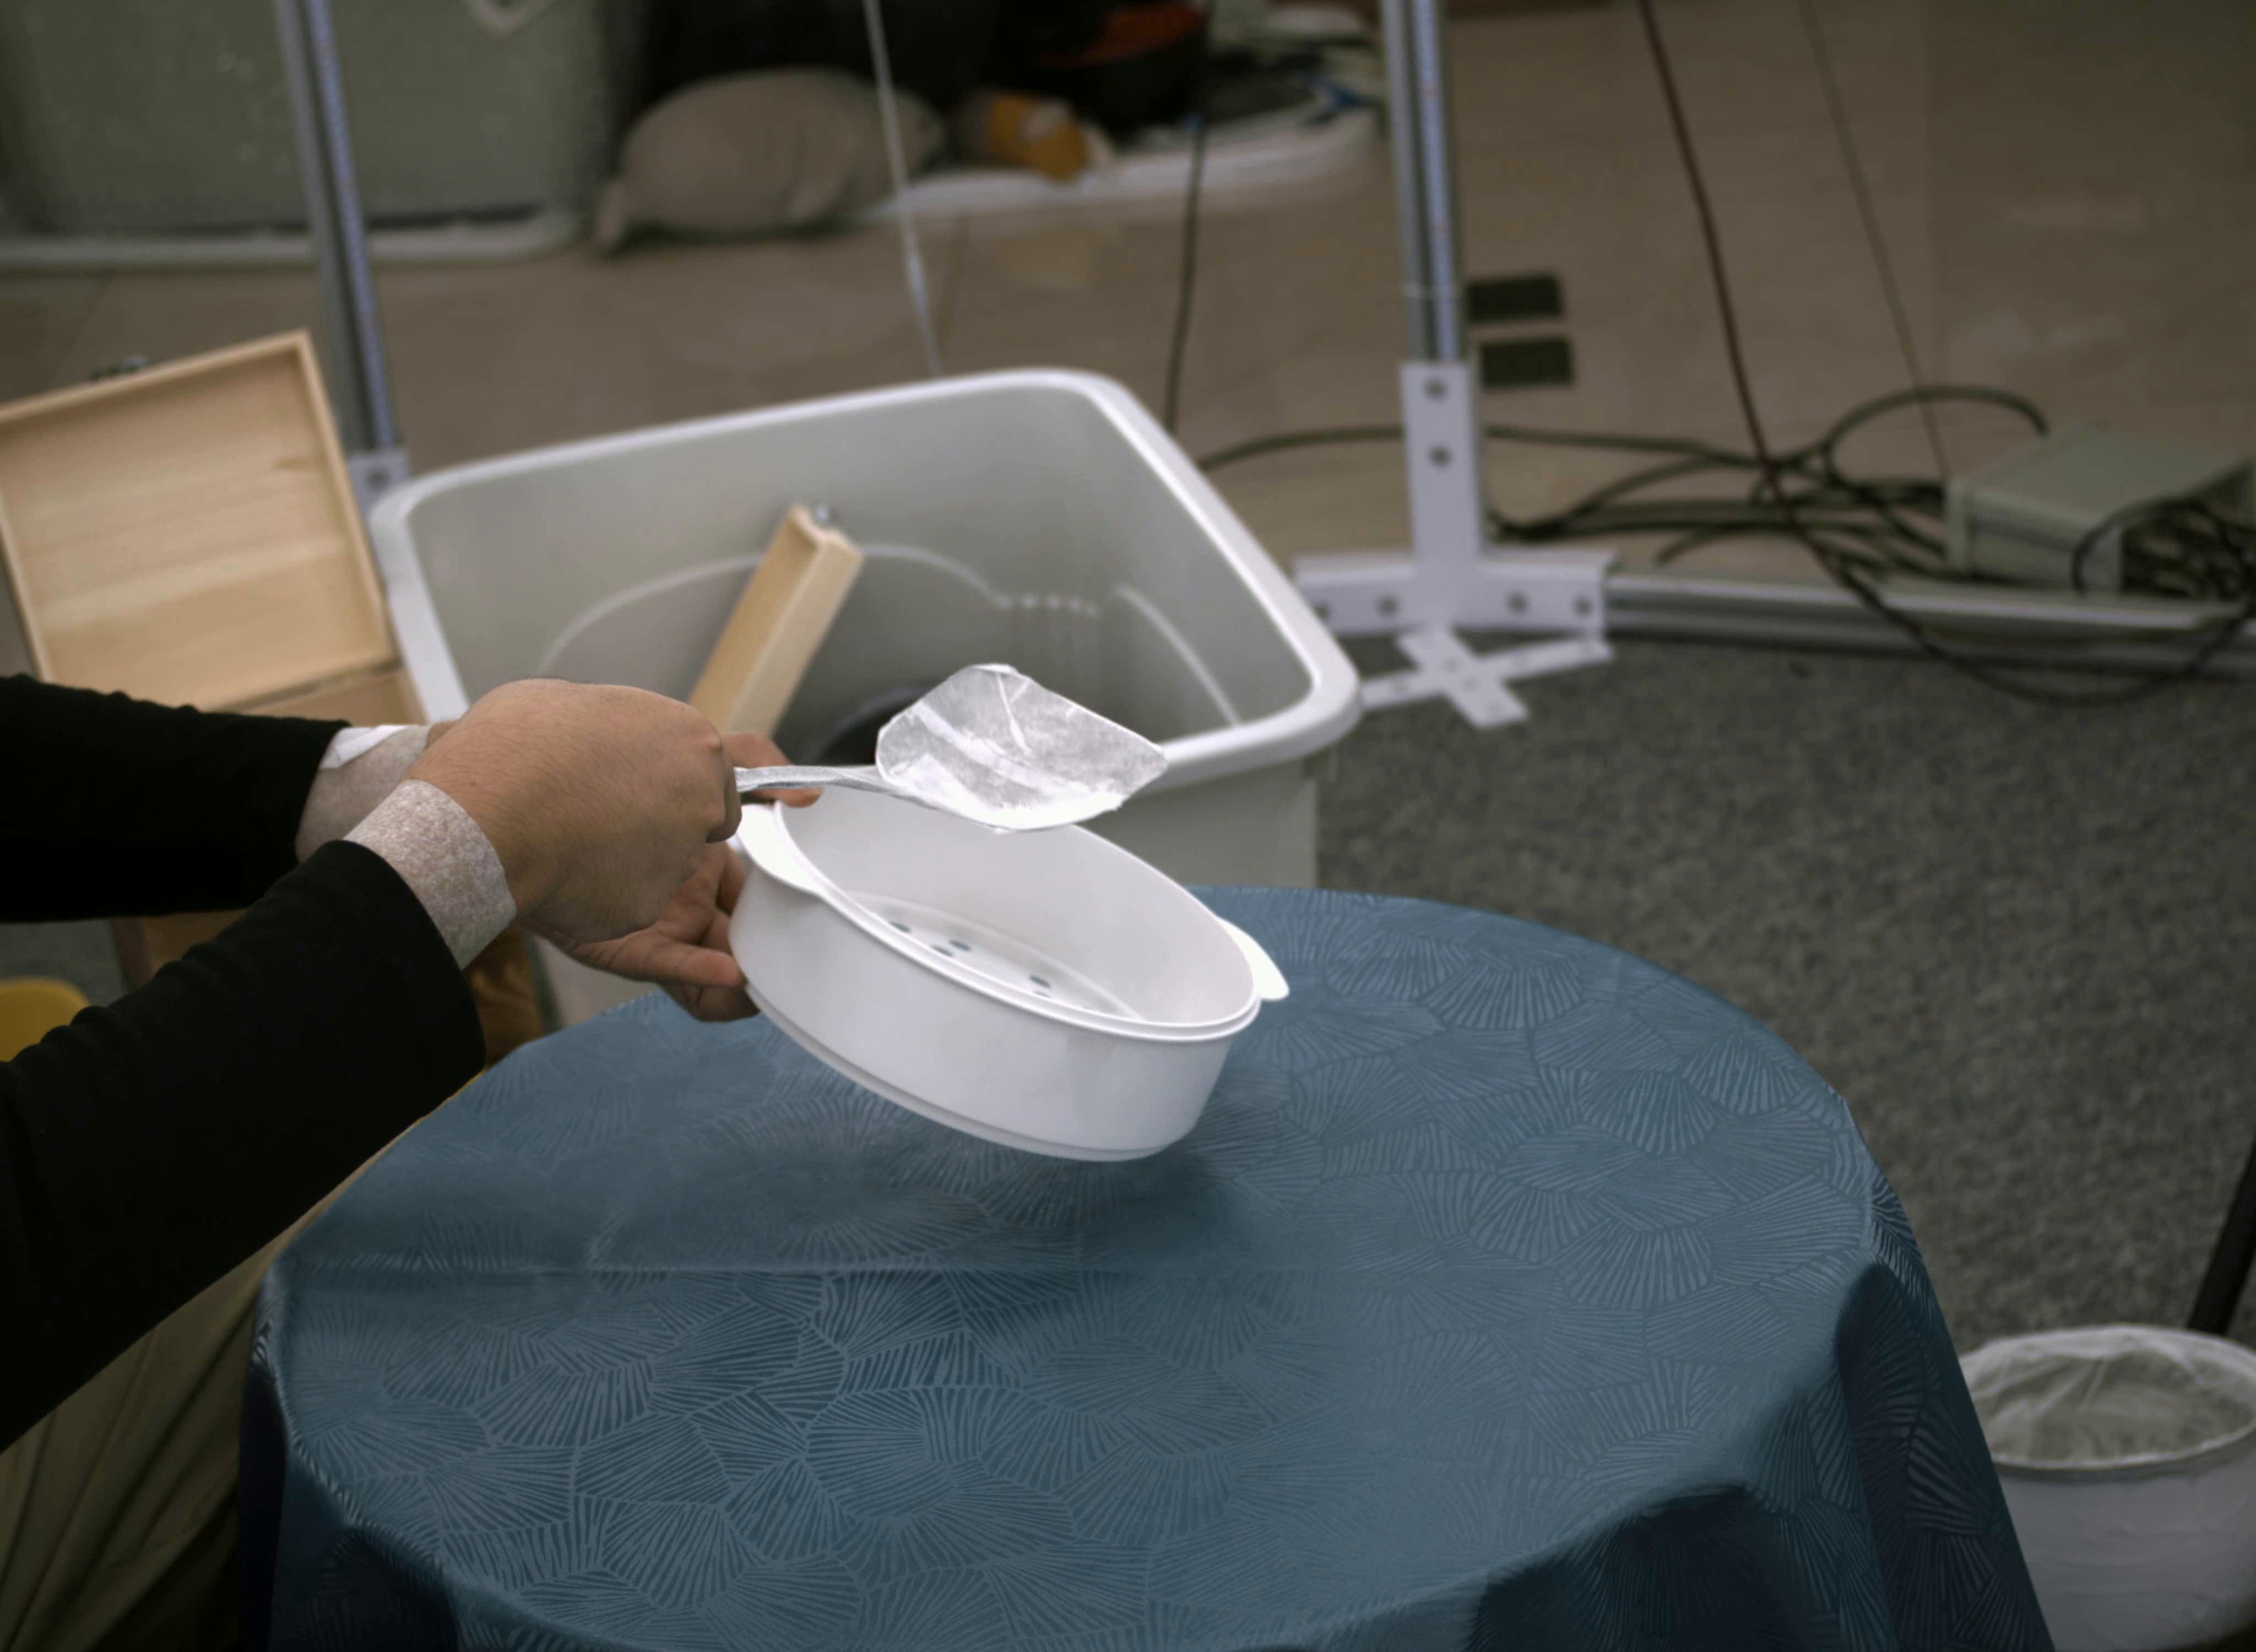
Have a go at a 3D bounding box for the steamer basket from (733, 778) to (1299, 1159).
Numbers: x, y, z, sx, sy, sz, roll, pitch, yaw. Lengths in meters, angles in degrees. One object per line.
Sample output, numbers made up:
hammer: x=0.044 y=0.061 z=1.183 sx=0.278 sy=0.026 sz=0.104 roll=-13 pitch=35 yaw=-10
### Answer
steamer basket: x=-0.050 y=0.053 z=2.143 sx=0.231 sy=0.070 sz=0.199 roll=13 pitch=21 yaw=-25

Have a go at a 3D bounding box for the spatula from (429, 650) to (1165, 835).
spatula: x=-0.117 y=-0.023 z=1.996 sx=0.098 sy=0.045 sz=0.364 roll=32 pitch=18 yaw=27
